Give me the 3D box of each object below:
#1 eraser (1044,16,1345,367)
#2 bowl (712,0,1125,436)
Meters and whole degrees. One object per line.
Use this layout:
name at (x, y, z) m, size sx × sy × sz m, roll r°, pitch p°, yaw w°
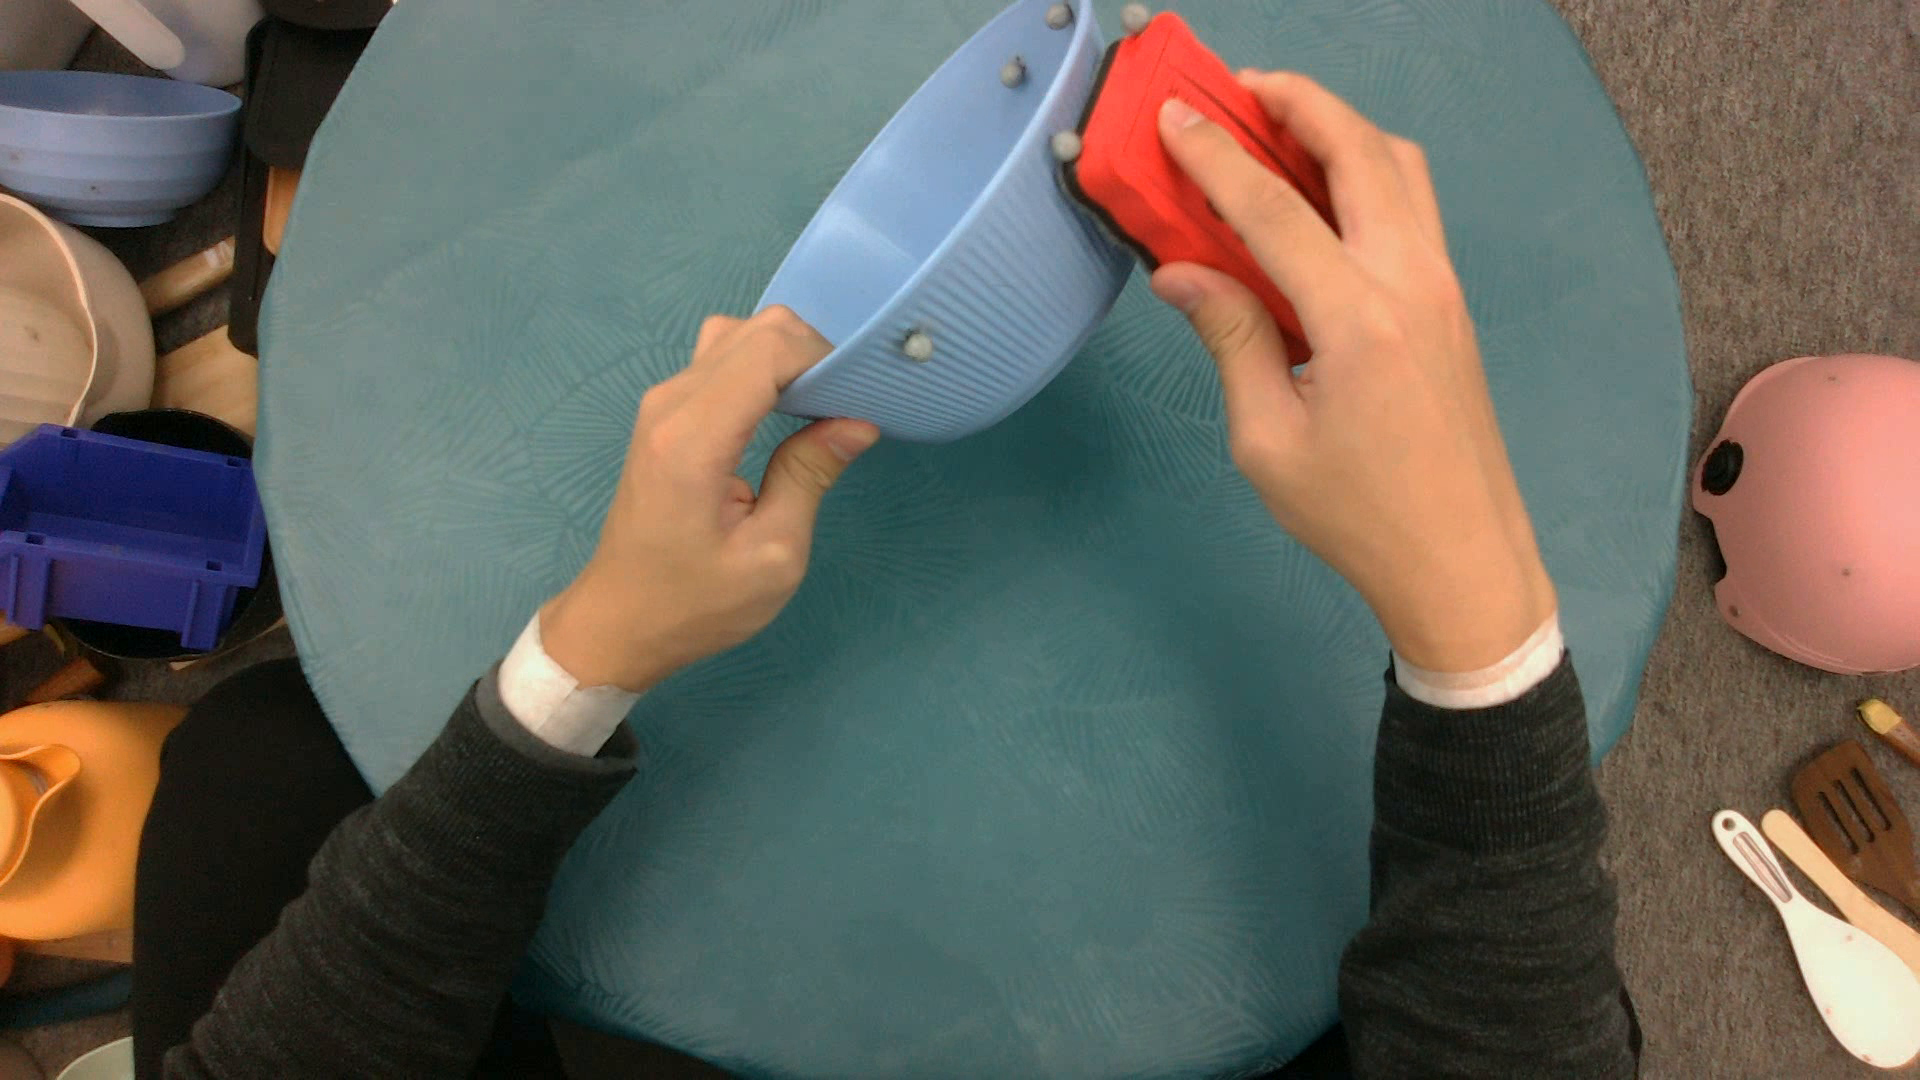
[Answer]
eraser at (0.075, -0.104, 0.422) m, size 0.108 × 0.023 × 0.059 m, roll 34°, pitch 63°, yaw -31°
bowl at (-0.004, -0.102, 0.478) m, size 0.070 × 0.176 × 0.176 m, roll 39°, pitch 81°, yaw -26°
